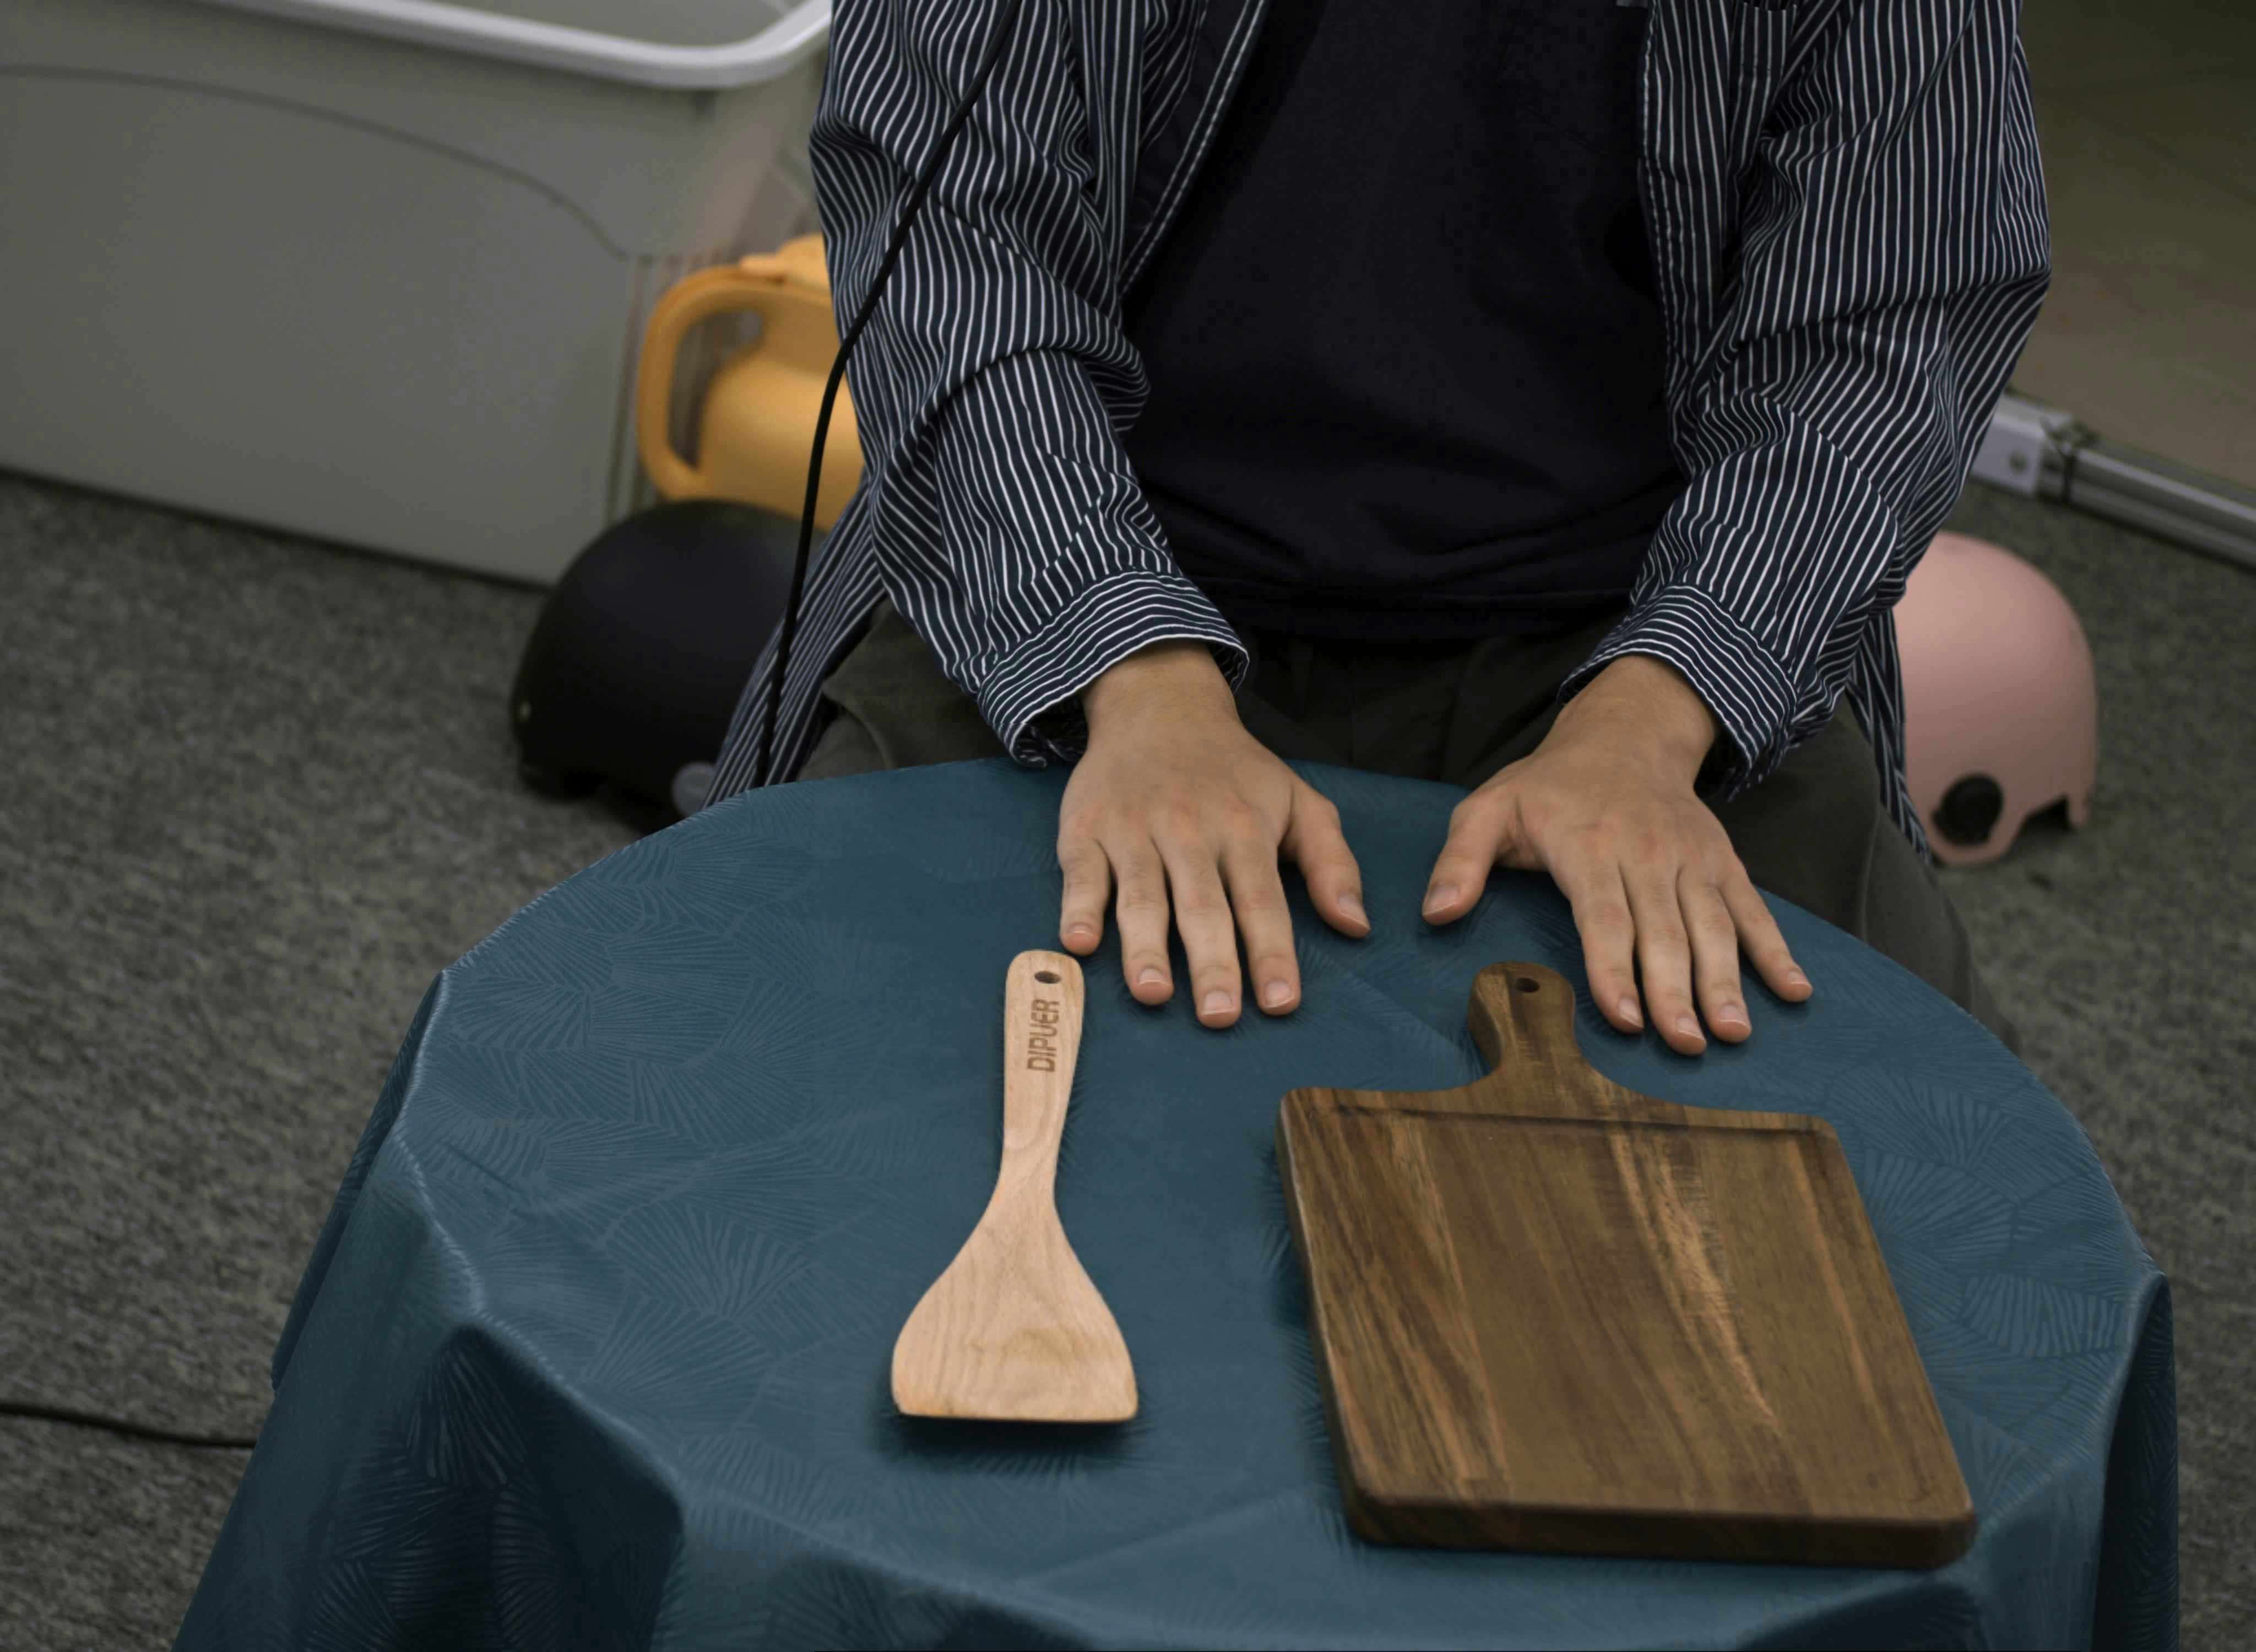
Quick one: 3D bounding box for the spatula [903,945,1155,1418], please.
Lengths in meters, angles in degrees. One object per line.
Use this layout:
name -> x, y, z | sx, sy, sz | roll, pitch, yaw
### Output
spatula -> -0.030, 0.116, 1.790 | 0.079, 0.016, 0.329 | 6, 27, -2

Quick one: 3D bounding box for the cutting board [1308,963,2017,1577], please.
cutting board -> 0.166, 0.139, 1.781 | 0.200, 0.023, 0.354 | 4, 27, -5
